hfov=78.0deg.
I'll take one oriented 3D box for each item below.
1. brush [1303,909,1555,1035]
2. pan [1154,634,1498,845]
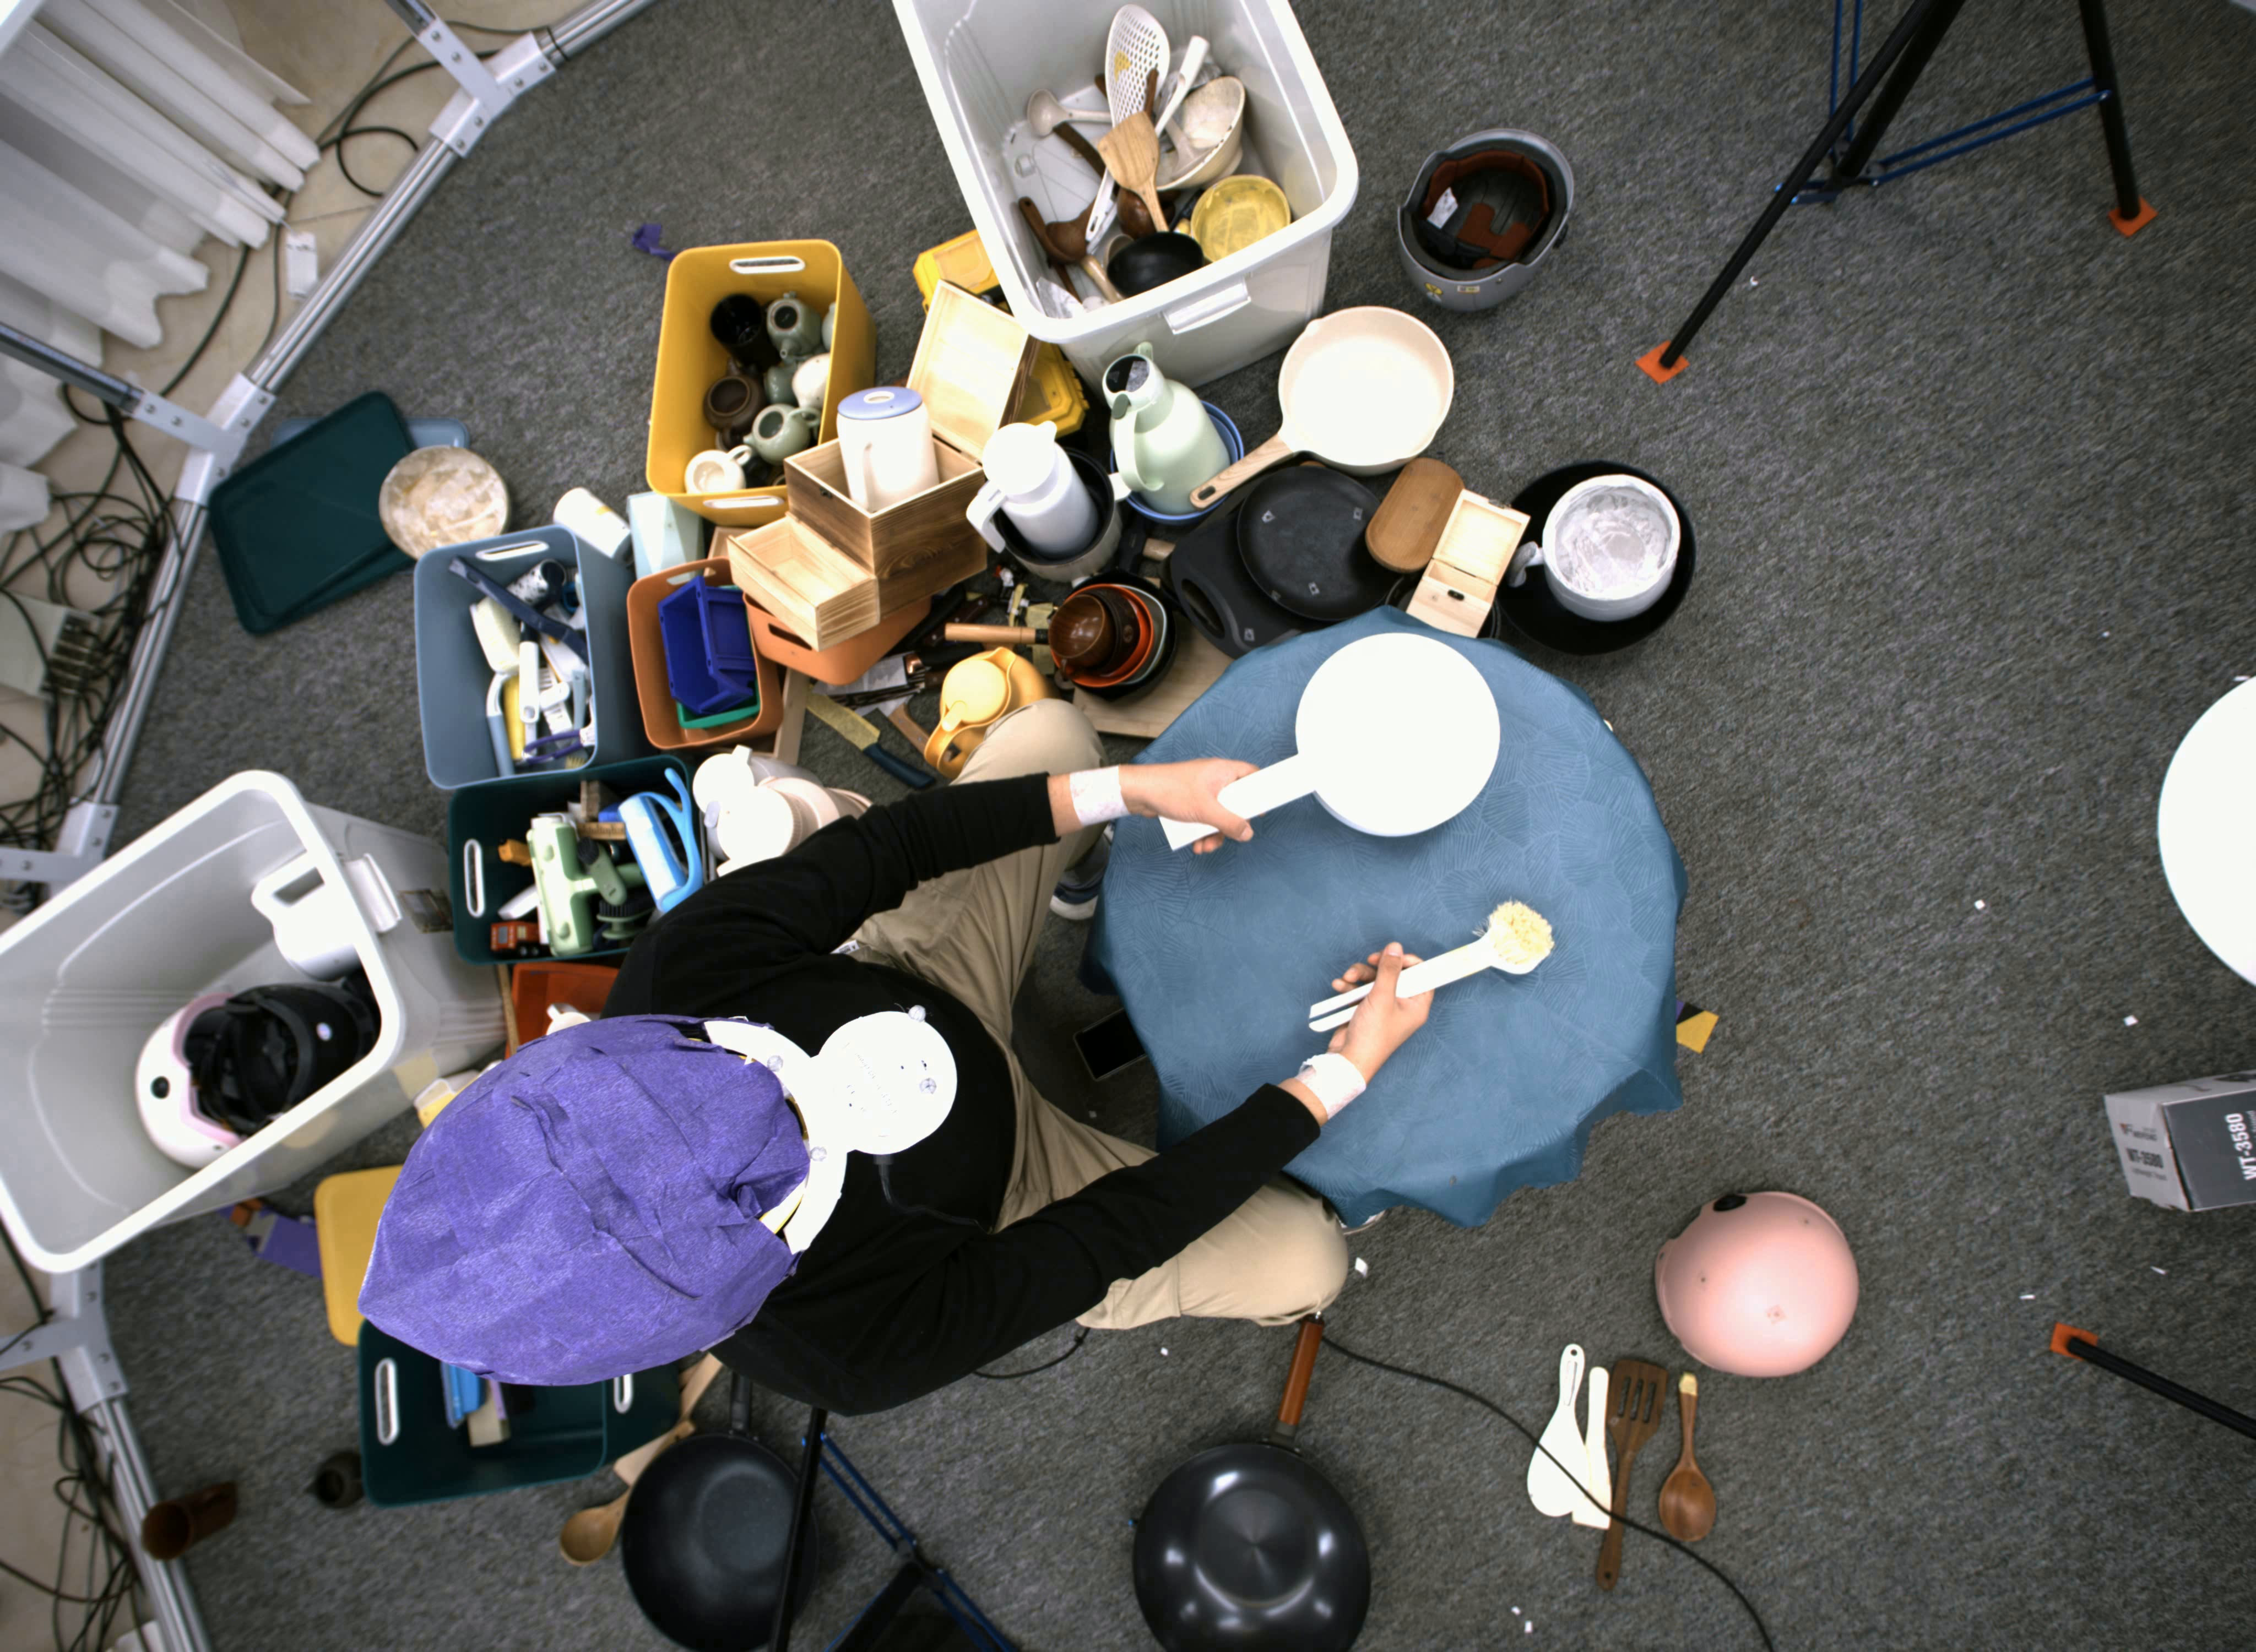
[{"bbox_3d":[0.303,0.150,1.392,0.267,0.057,0.067,-17,53,-1],"label":"brush"},{"bbox_3d":[0.201,-0.061,1.421,0.356,0.102,0.200,-23,84,4],"label":"pan"}]
